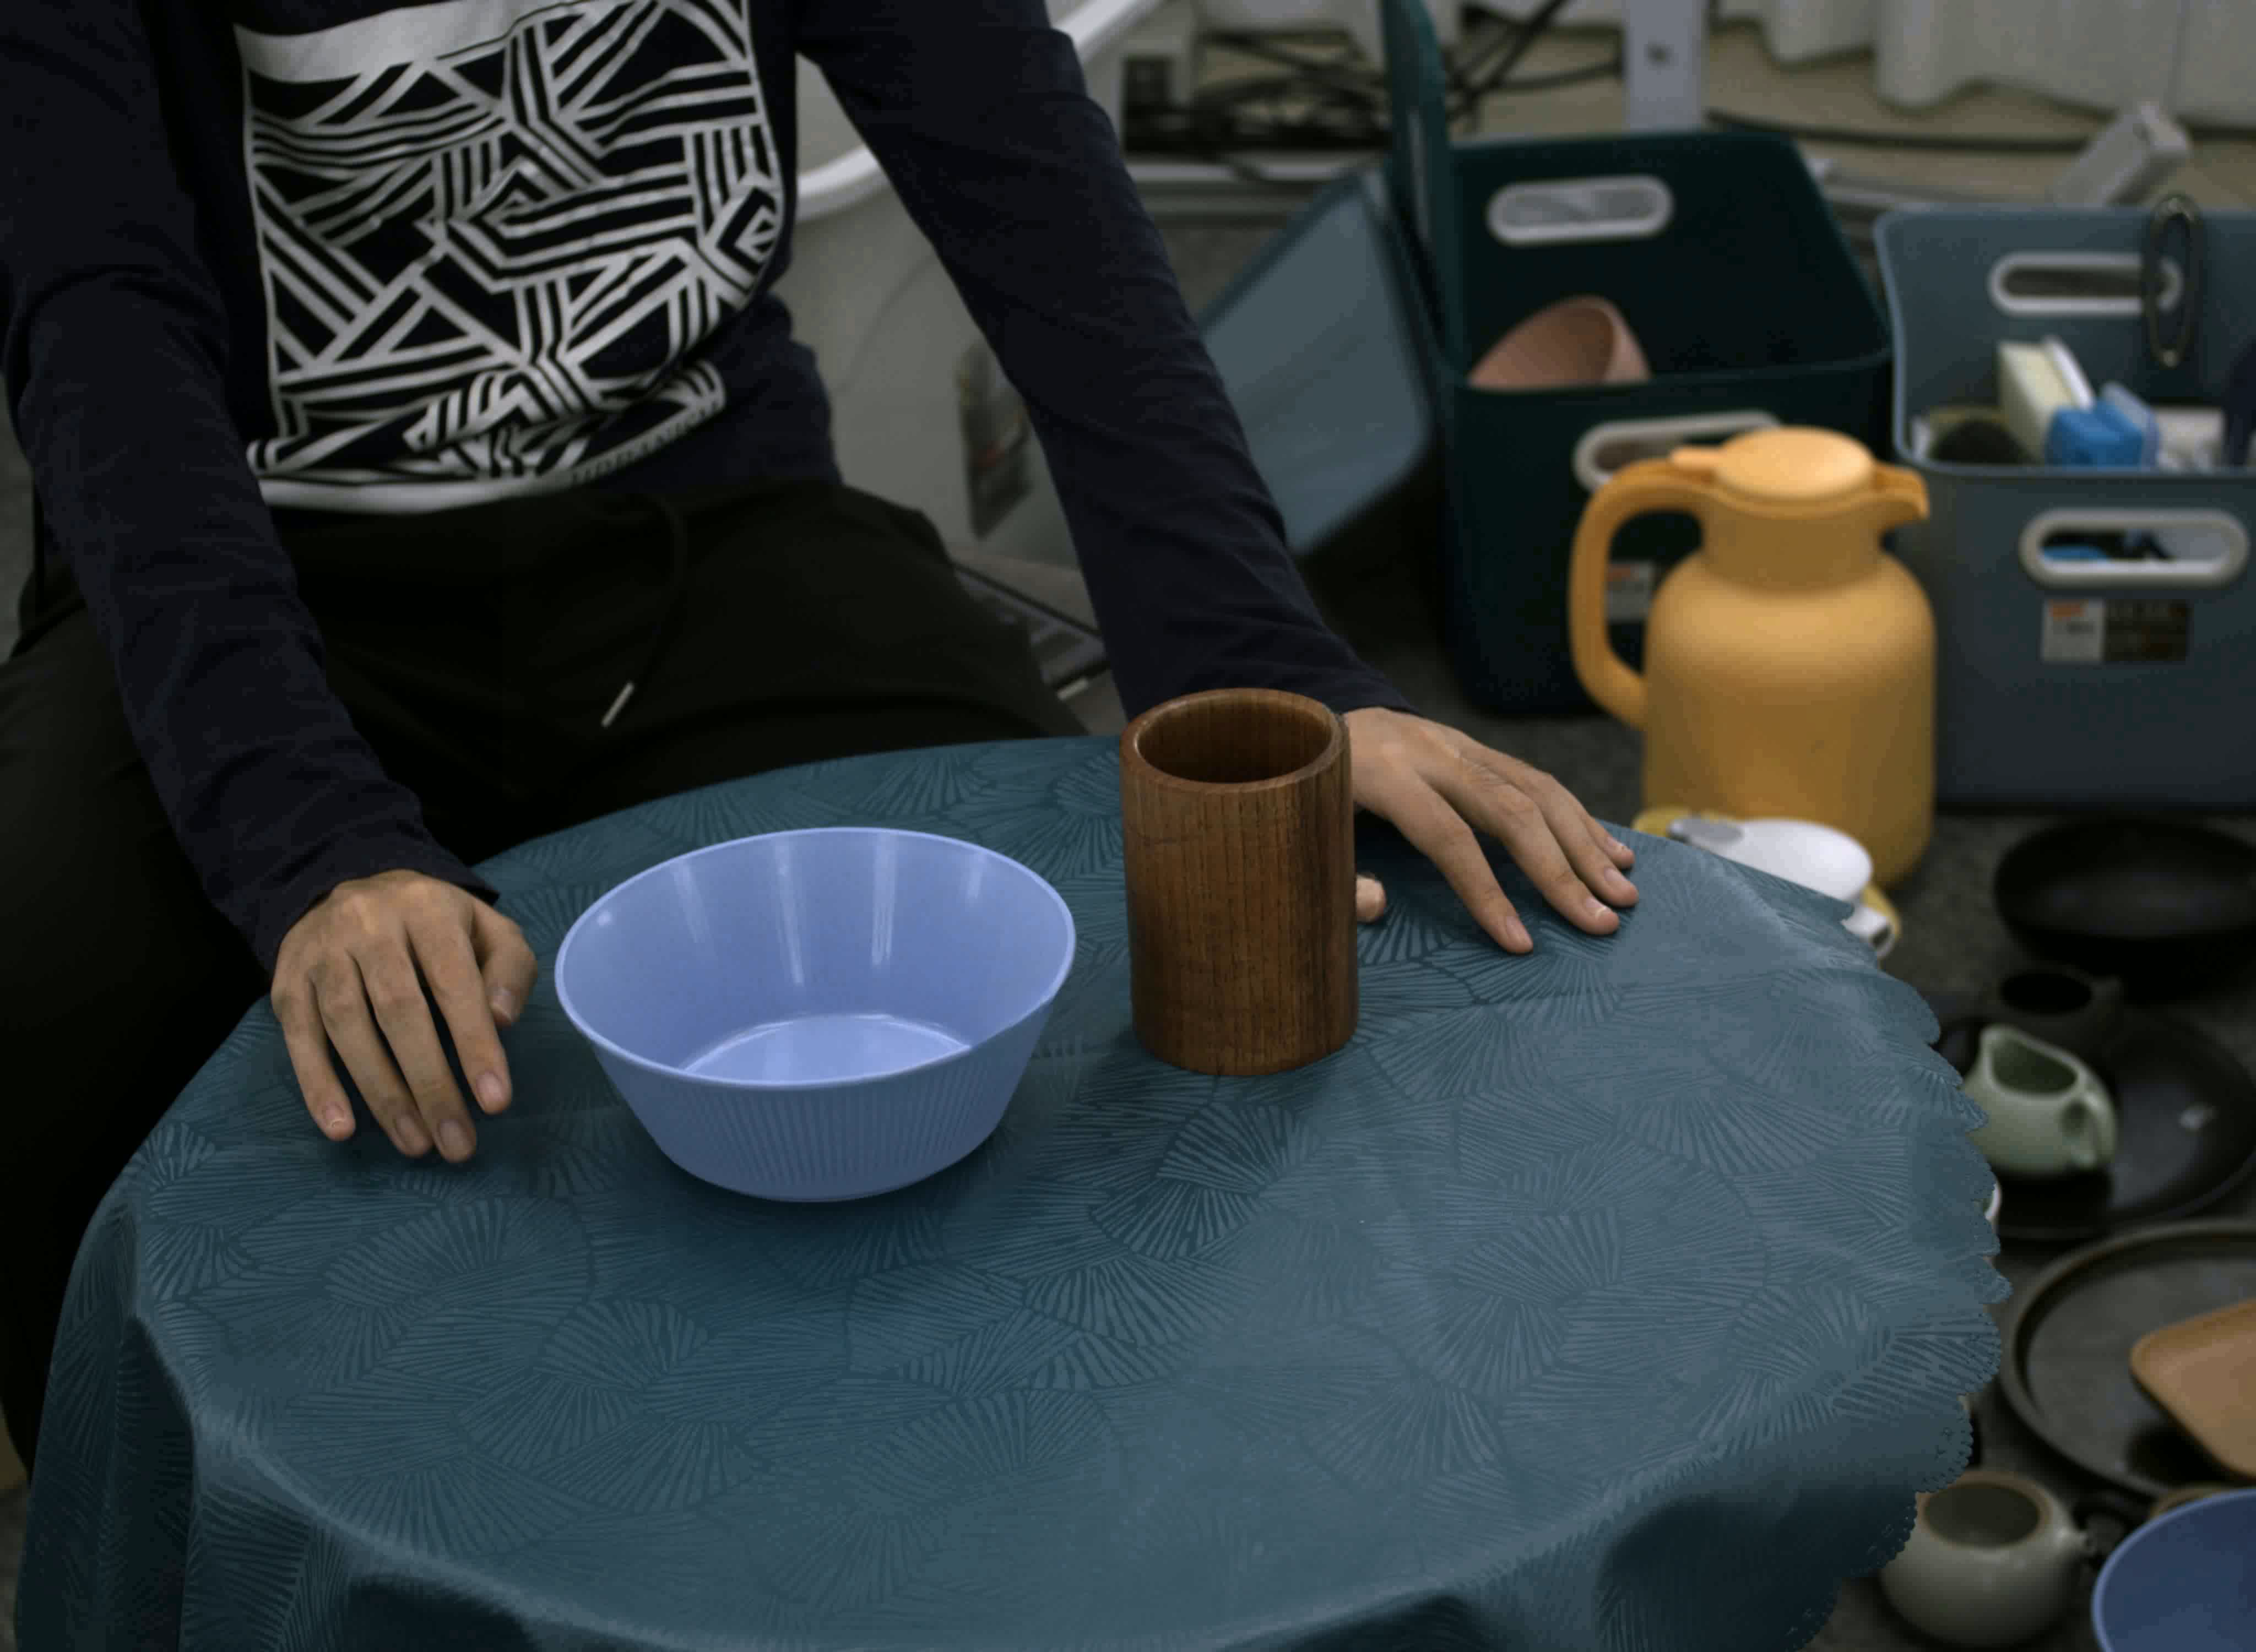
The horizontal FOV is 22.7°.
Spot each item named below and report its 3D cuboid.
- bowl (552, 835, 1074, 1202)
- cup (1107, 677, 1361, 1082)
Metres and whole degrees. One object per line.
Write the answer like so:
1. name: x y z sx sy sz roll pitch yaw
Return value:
1. bowl: -0.104 0.070 1.893 0.175 0.069 0.178 -2 26 1
2. cup: 0.038 0.018 1.931 0.087 0.117 0.089 -2 24 1
